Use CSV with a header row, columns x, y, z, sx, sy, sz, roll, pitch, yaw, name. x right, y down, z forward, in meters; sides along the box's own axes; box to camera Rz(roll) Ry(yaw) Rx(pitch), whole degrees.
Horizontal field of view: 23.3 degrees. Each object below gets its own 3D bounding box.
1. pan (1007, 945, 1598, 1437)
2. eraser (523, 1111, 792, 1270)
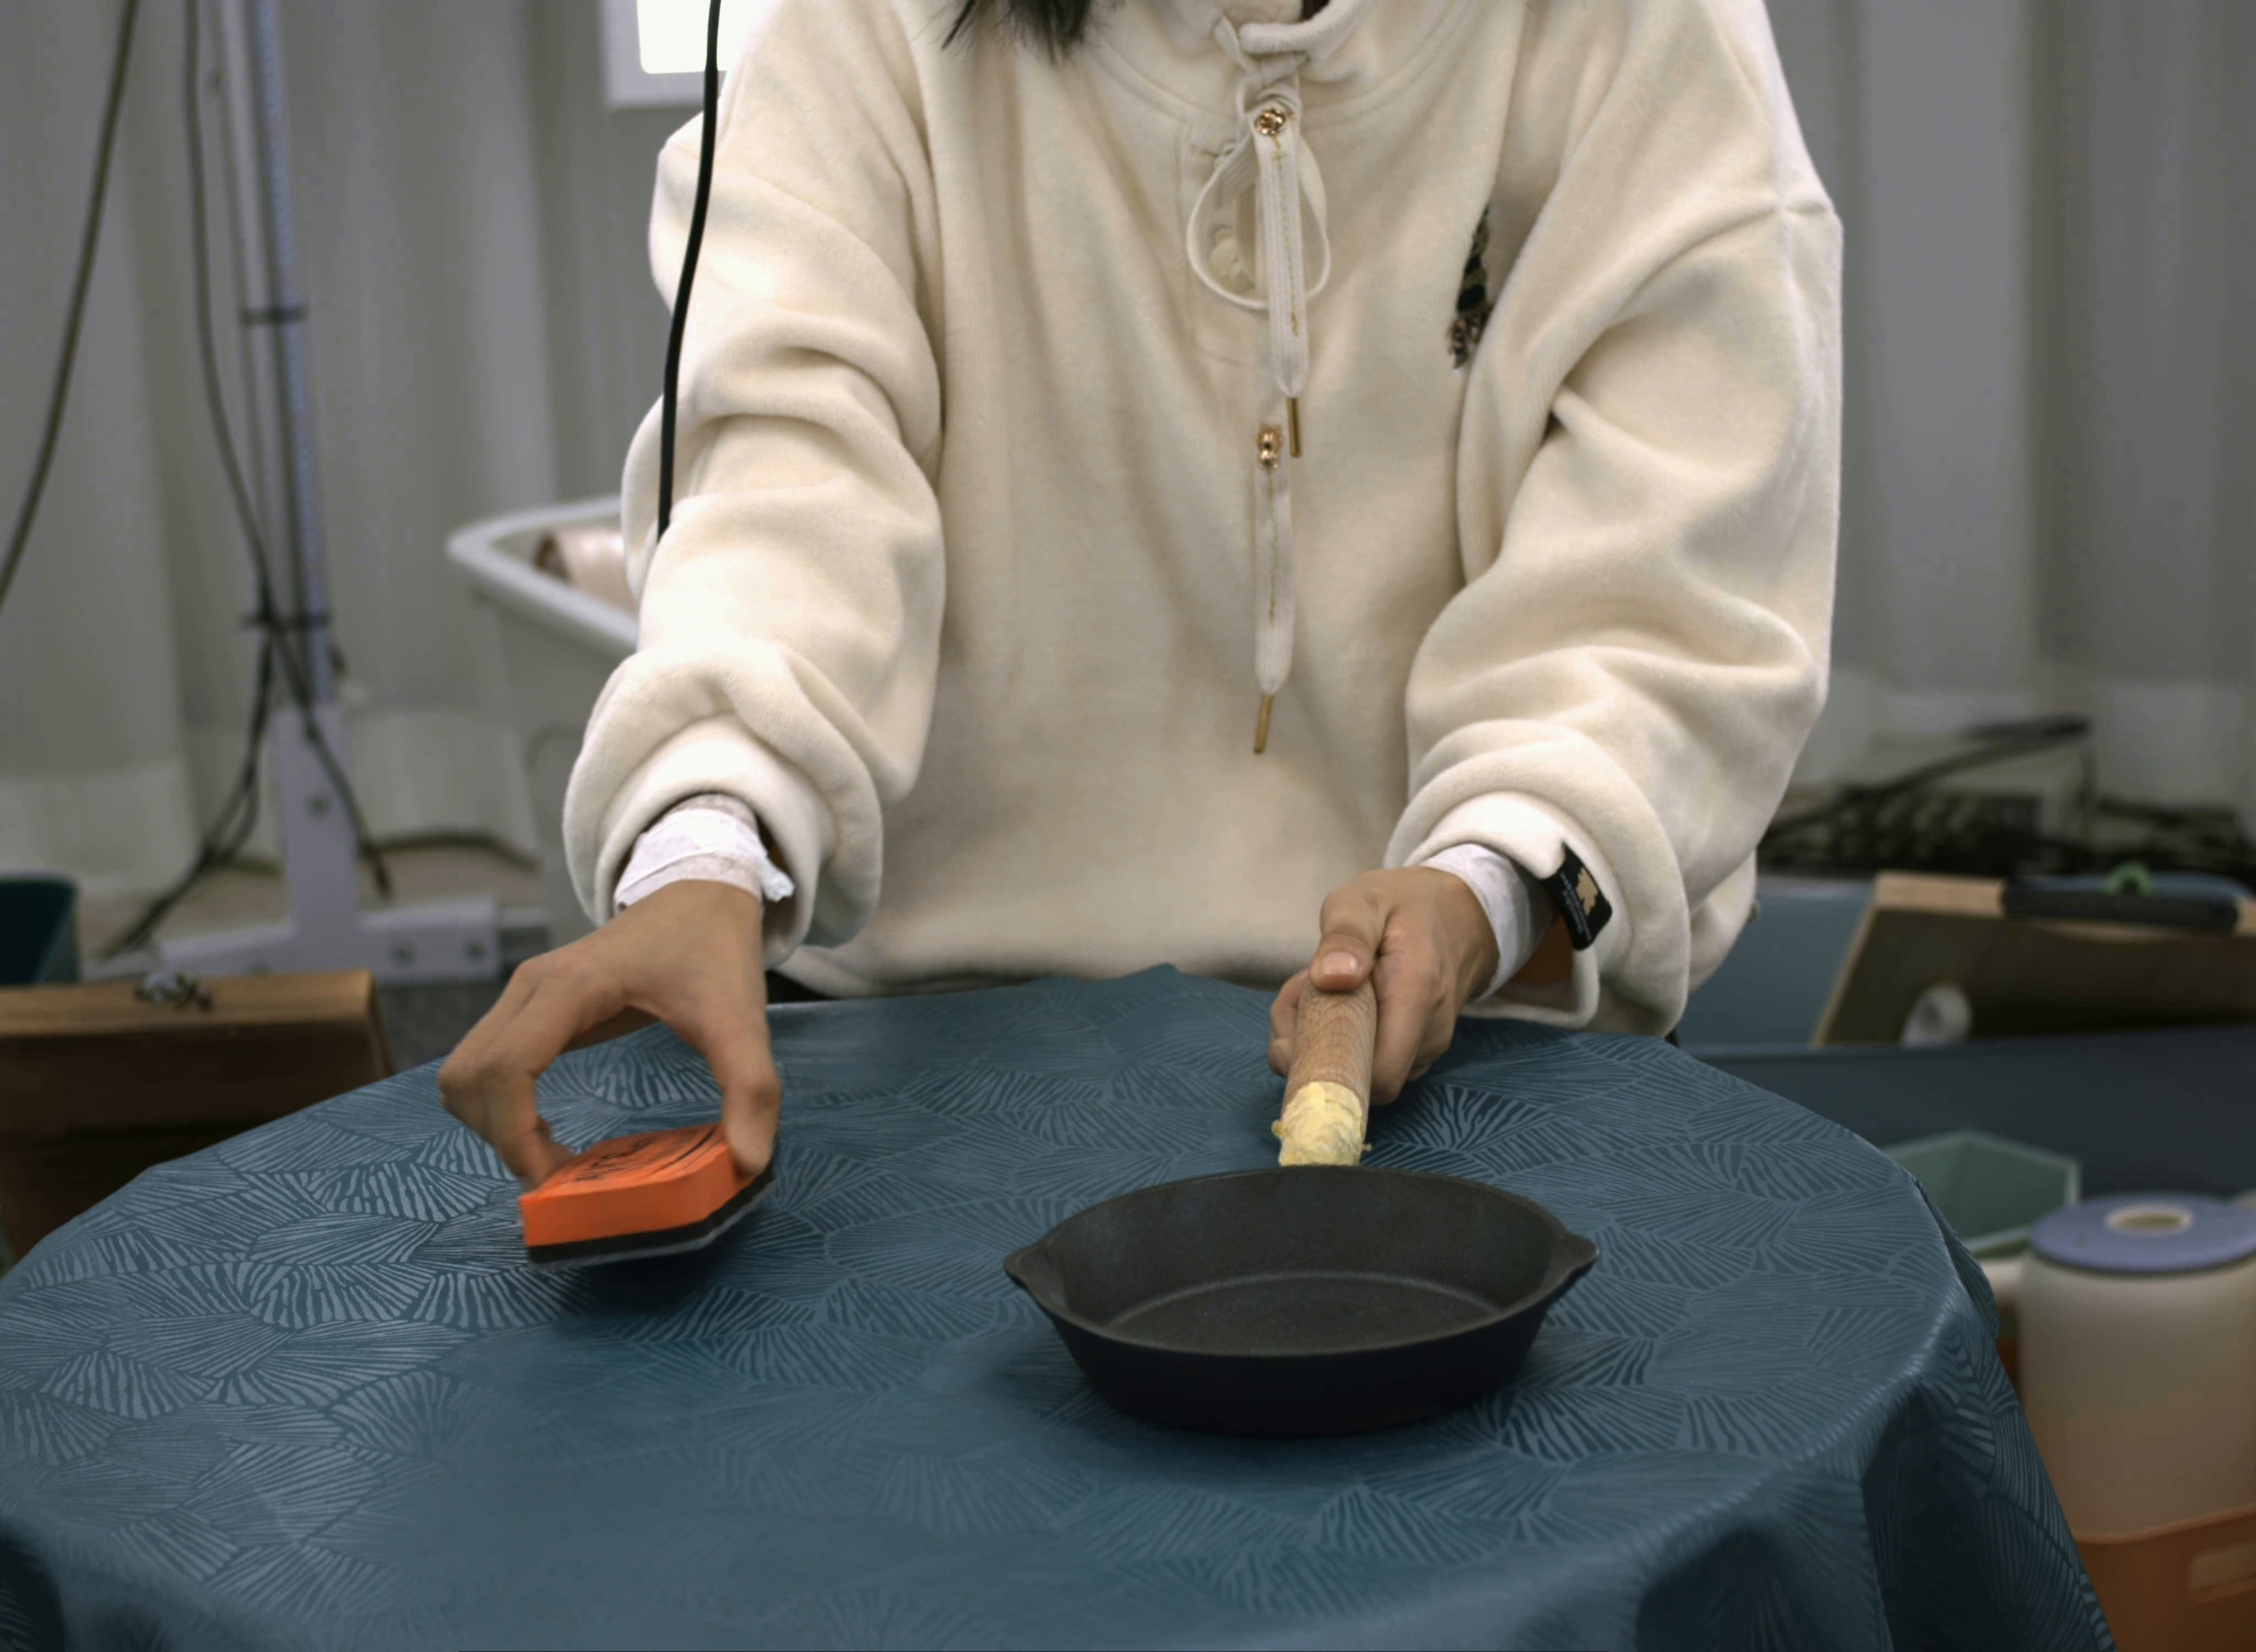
x,y,z,sx,sy,sz,roll,pitch,yaw,name
0.058,0.106,1.635,0.168,0.049,0.326,-2,16,7,pan
-0.143,0.111,1.670,0.059,0.023,0.108,-12,4,12,eraser
